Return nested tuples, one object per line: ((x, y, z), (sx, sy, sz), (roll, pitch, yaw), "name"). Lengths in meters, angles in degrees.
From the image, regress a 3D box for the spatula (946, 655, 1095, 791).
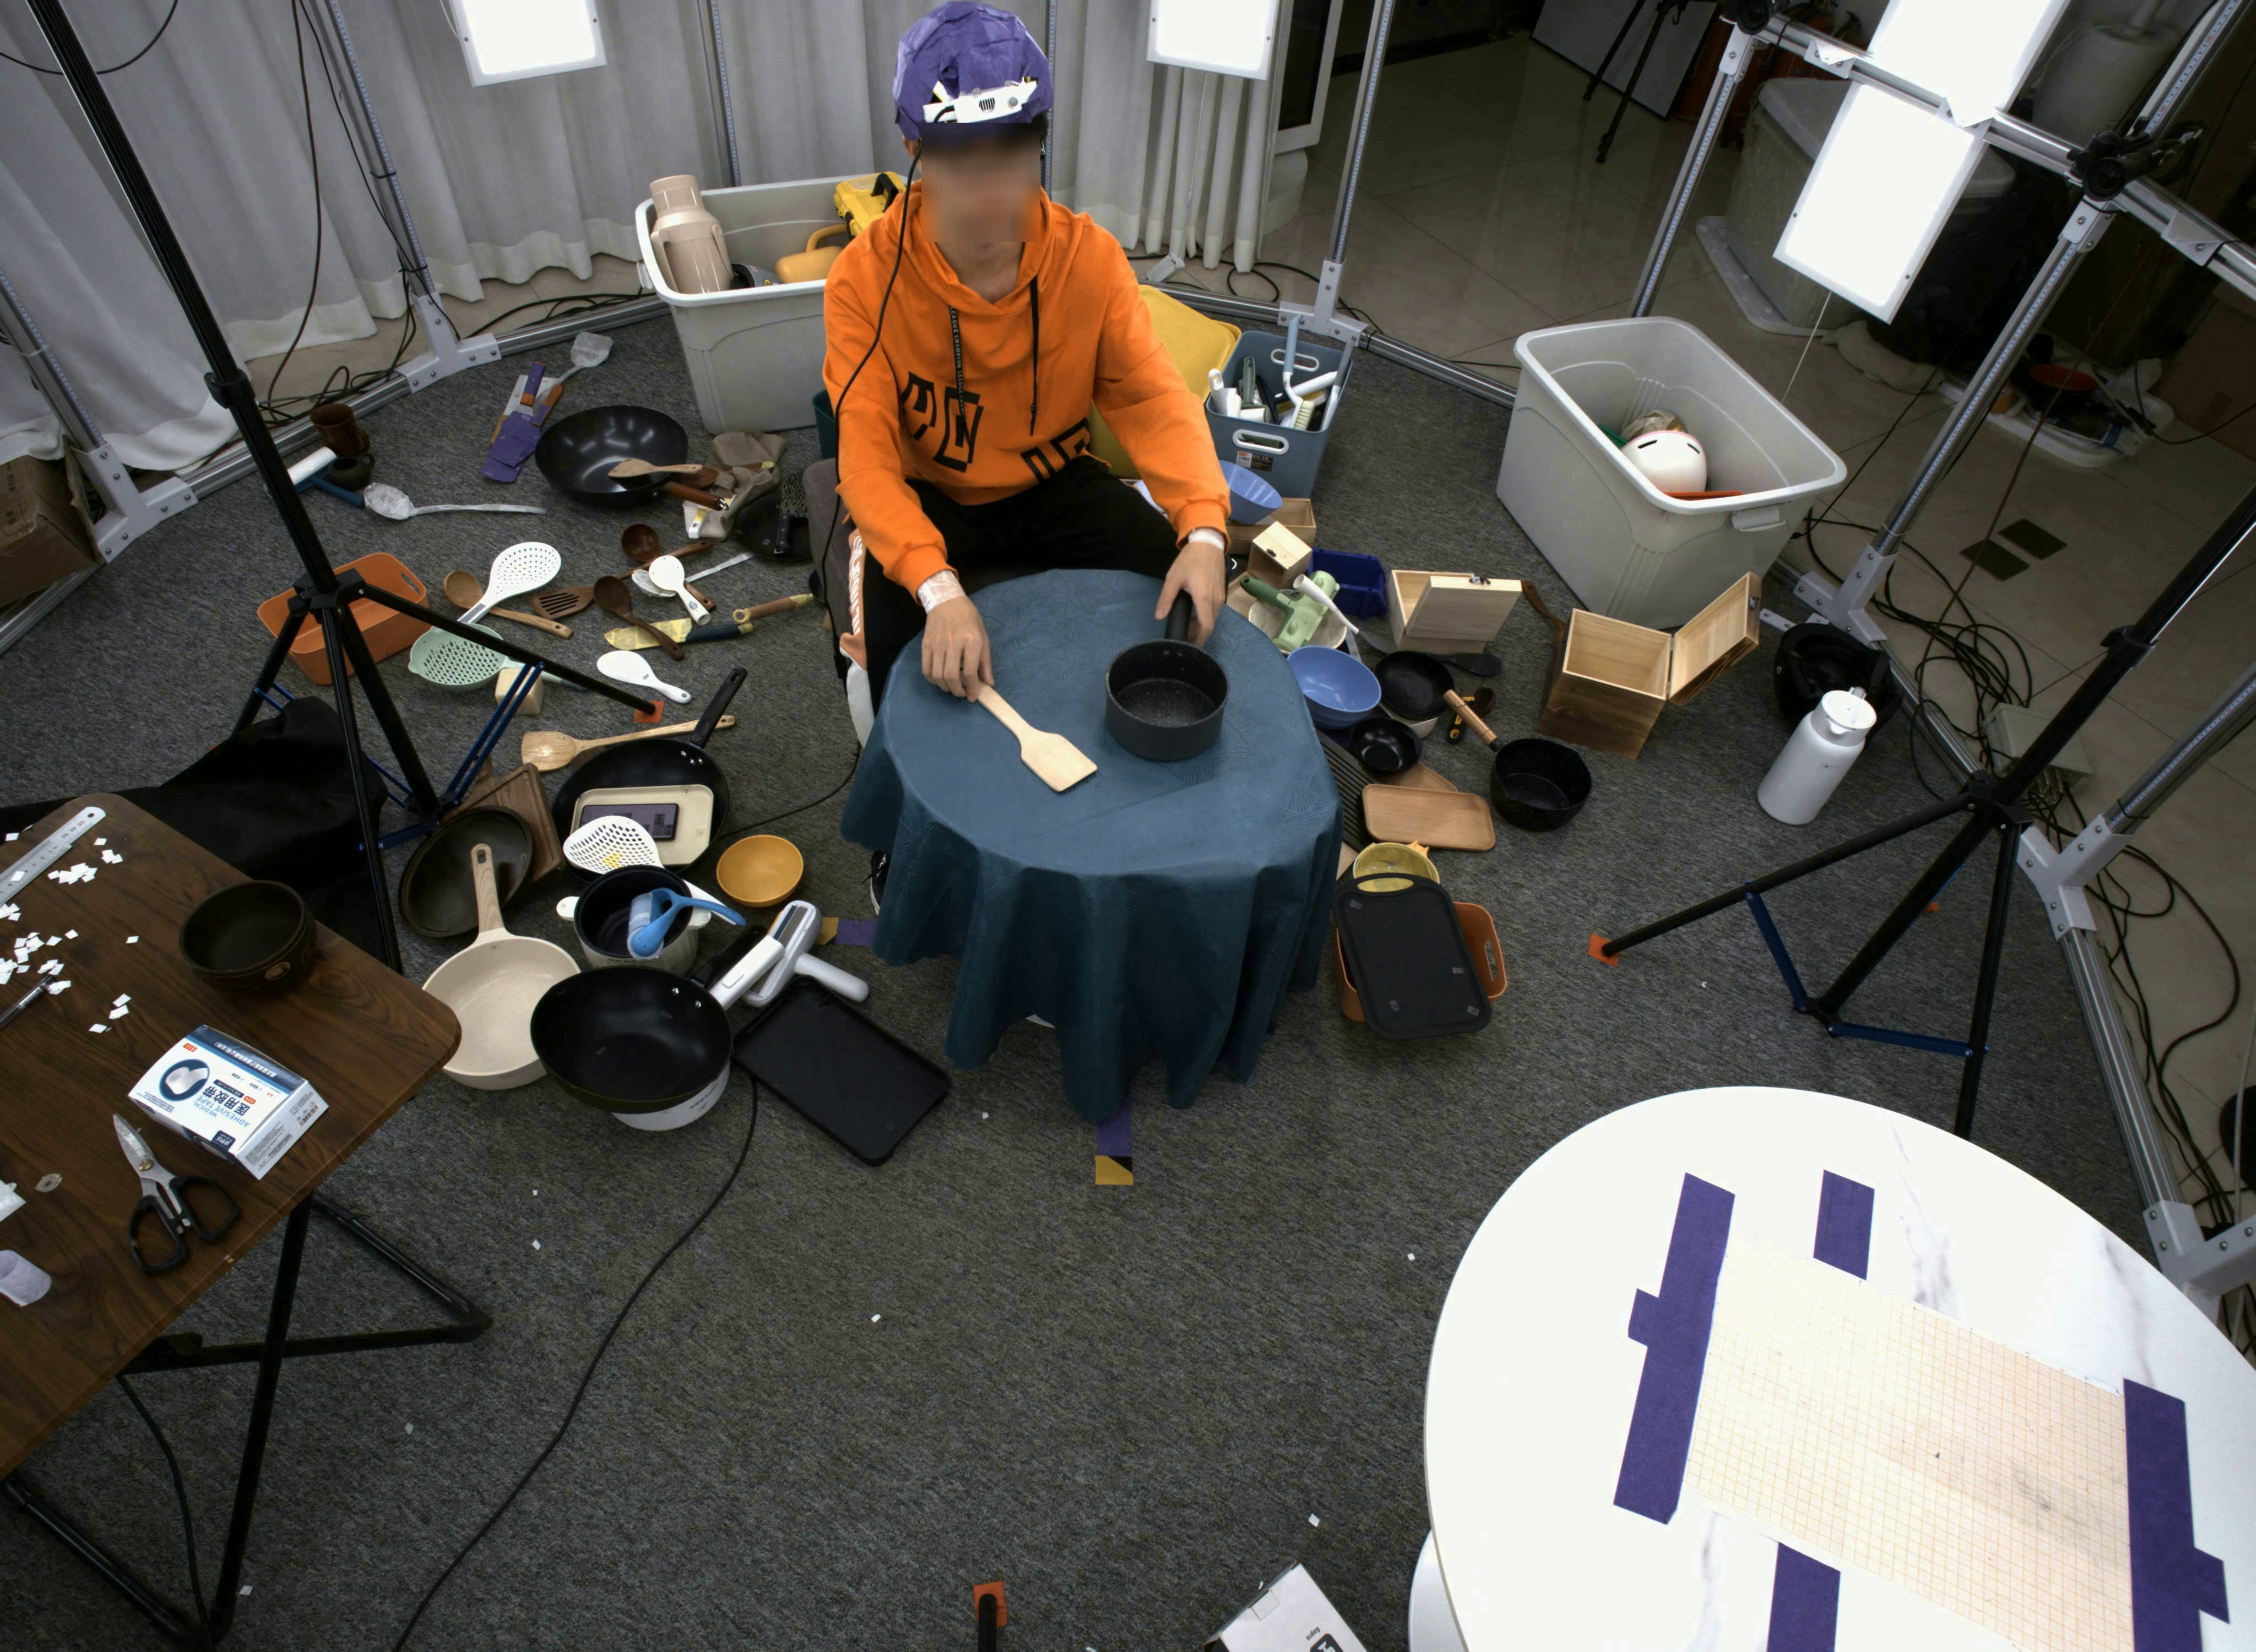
((-0.162, -0.150, 1.782), (0.073, 0.010, 0.298), (-32, 58, -23), "spatula")

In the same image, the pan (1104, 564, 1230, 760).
((0.066, -0.236, 1.824), (0.172, 0.084, 0.336), (11, 51, 4), "pan")
